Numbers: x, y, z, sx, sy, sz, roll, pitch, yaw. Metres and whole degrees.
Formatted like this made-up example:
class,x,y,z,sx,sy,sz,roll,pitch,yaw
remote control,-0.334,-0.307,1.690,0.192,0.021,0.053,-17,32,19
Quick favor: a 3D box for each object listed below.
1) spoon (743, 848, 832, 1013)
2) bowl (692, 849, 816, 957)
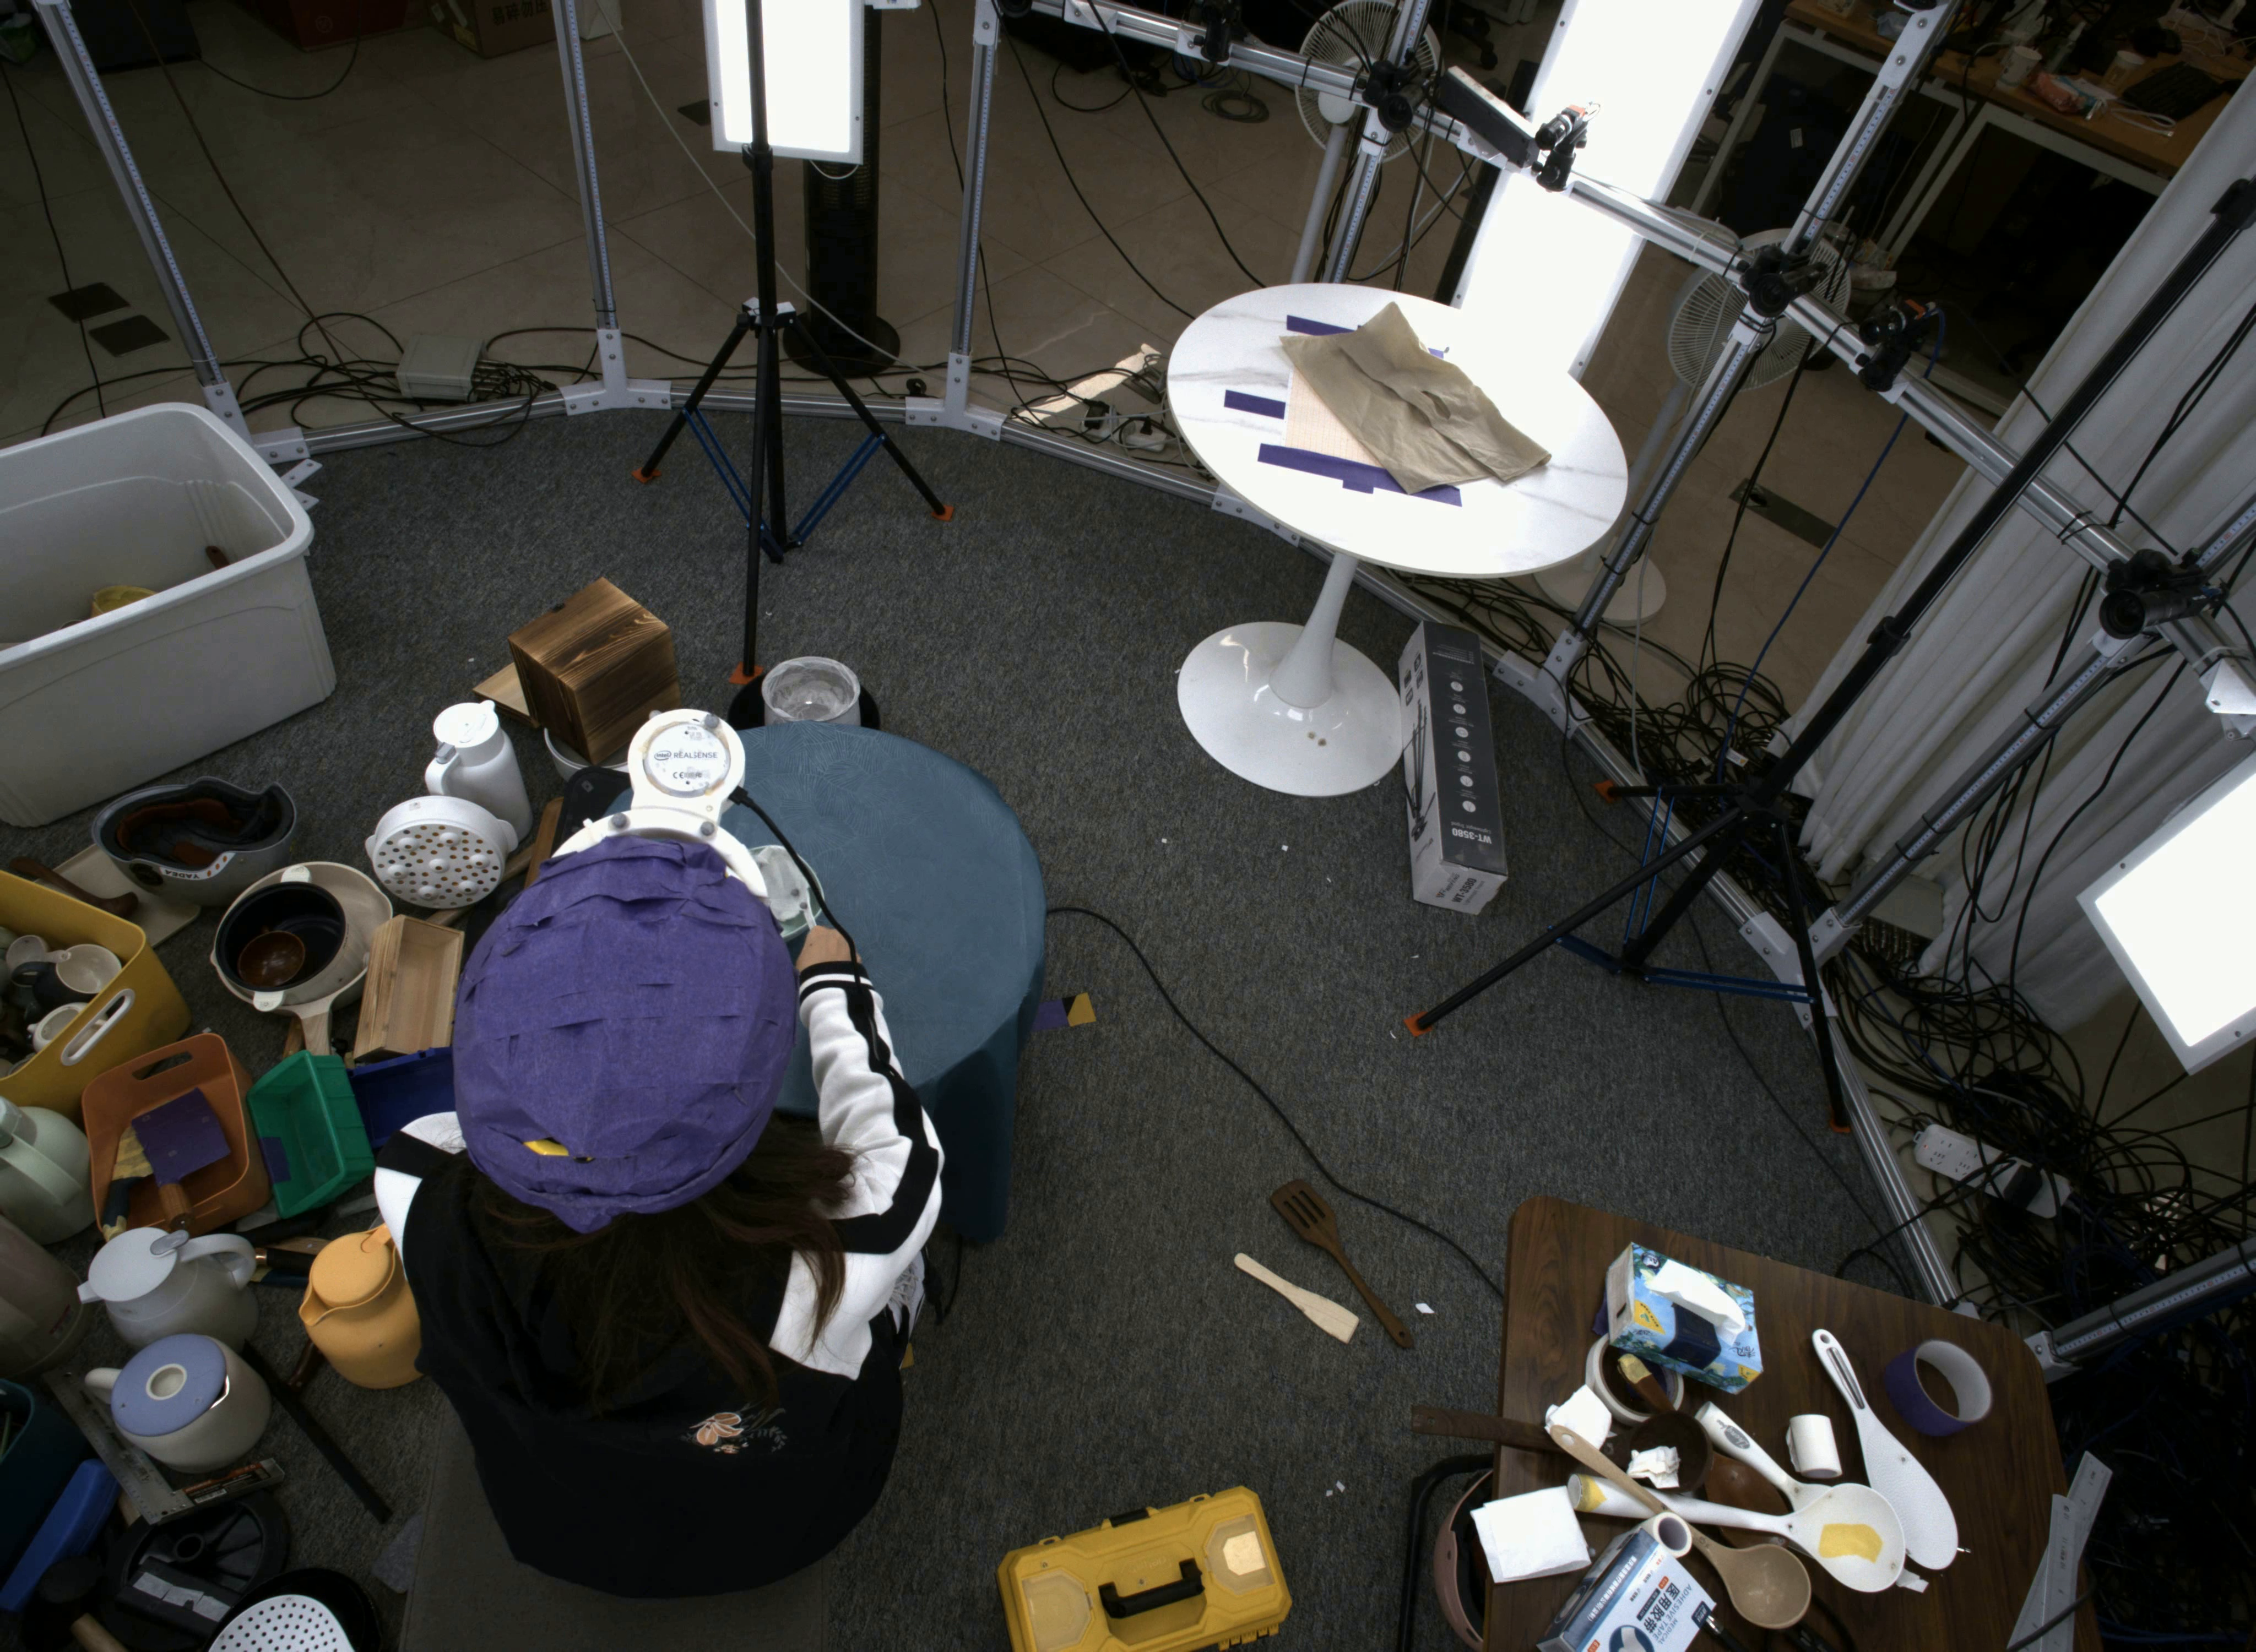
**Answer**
class,x,y,z,sx,sy,sz,roll,pitch,yaw
spoon,-0.405,0.128,1.528,0.060,0.102,0.268,5,32,-29
bowl,-0.461,0.103,1.599,0.151,0.060,0.149,8,53,-9
